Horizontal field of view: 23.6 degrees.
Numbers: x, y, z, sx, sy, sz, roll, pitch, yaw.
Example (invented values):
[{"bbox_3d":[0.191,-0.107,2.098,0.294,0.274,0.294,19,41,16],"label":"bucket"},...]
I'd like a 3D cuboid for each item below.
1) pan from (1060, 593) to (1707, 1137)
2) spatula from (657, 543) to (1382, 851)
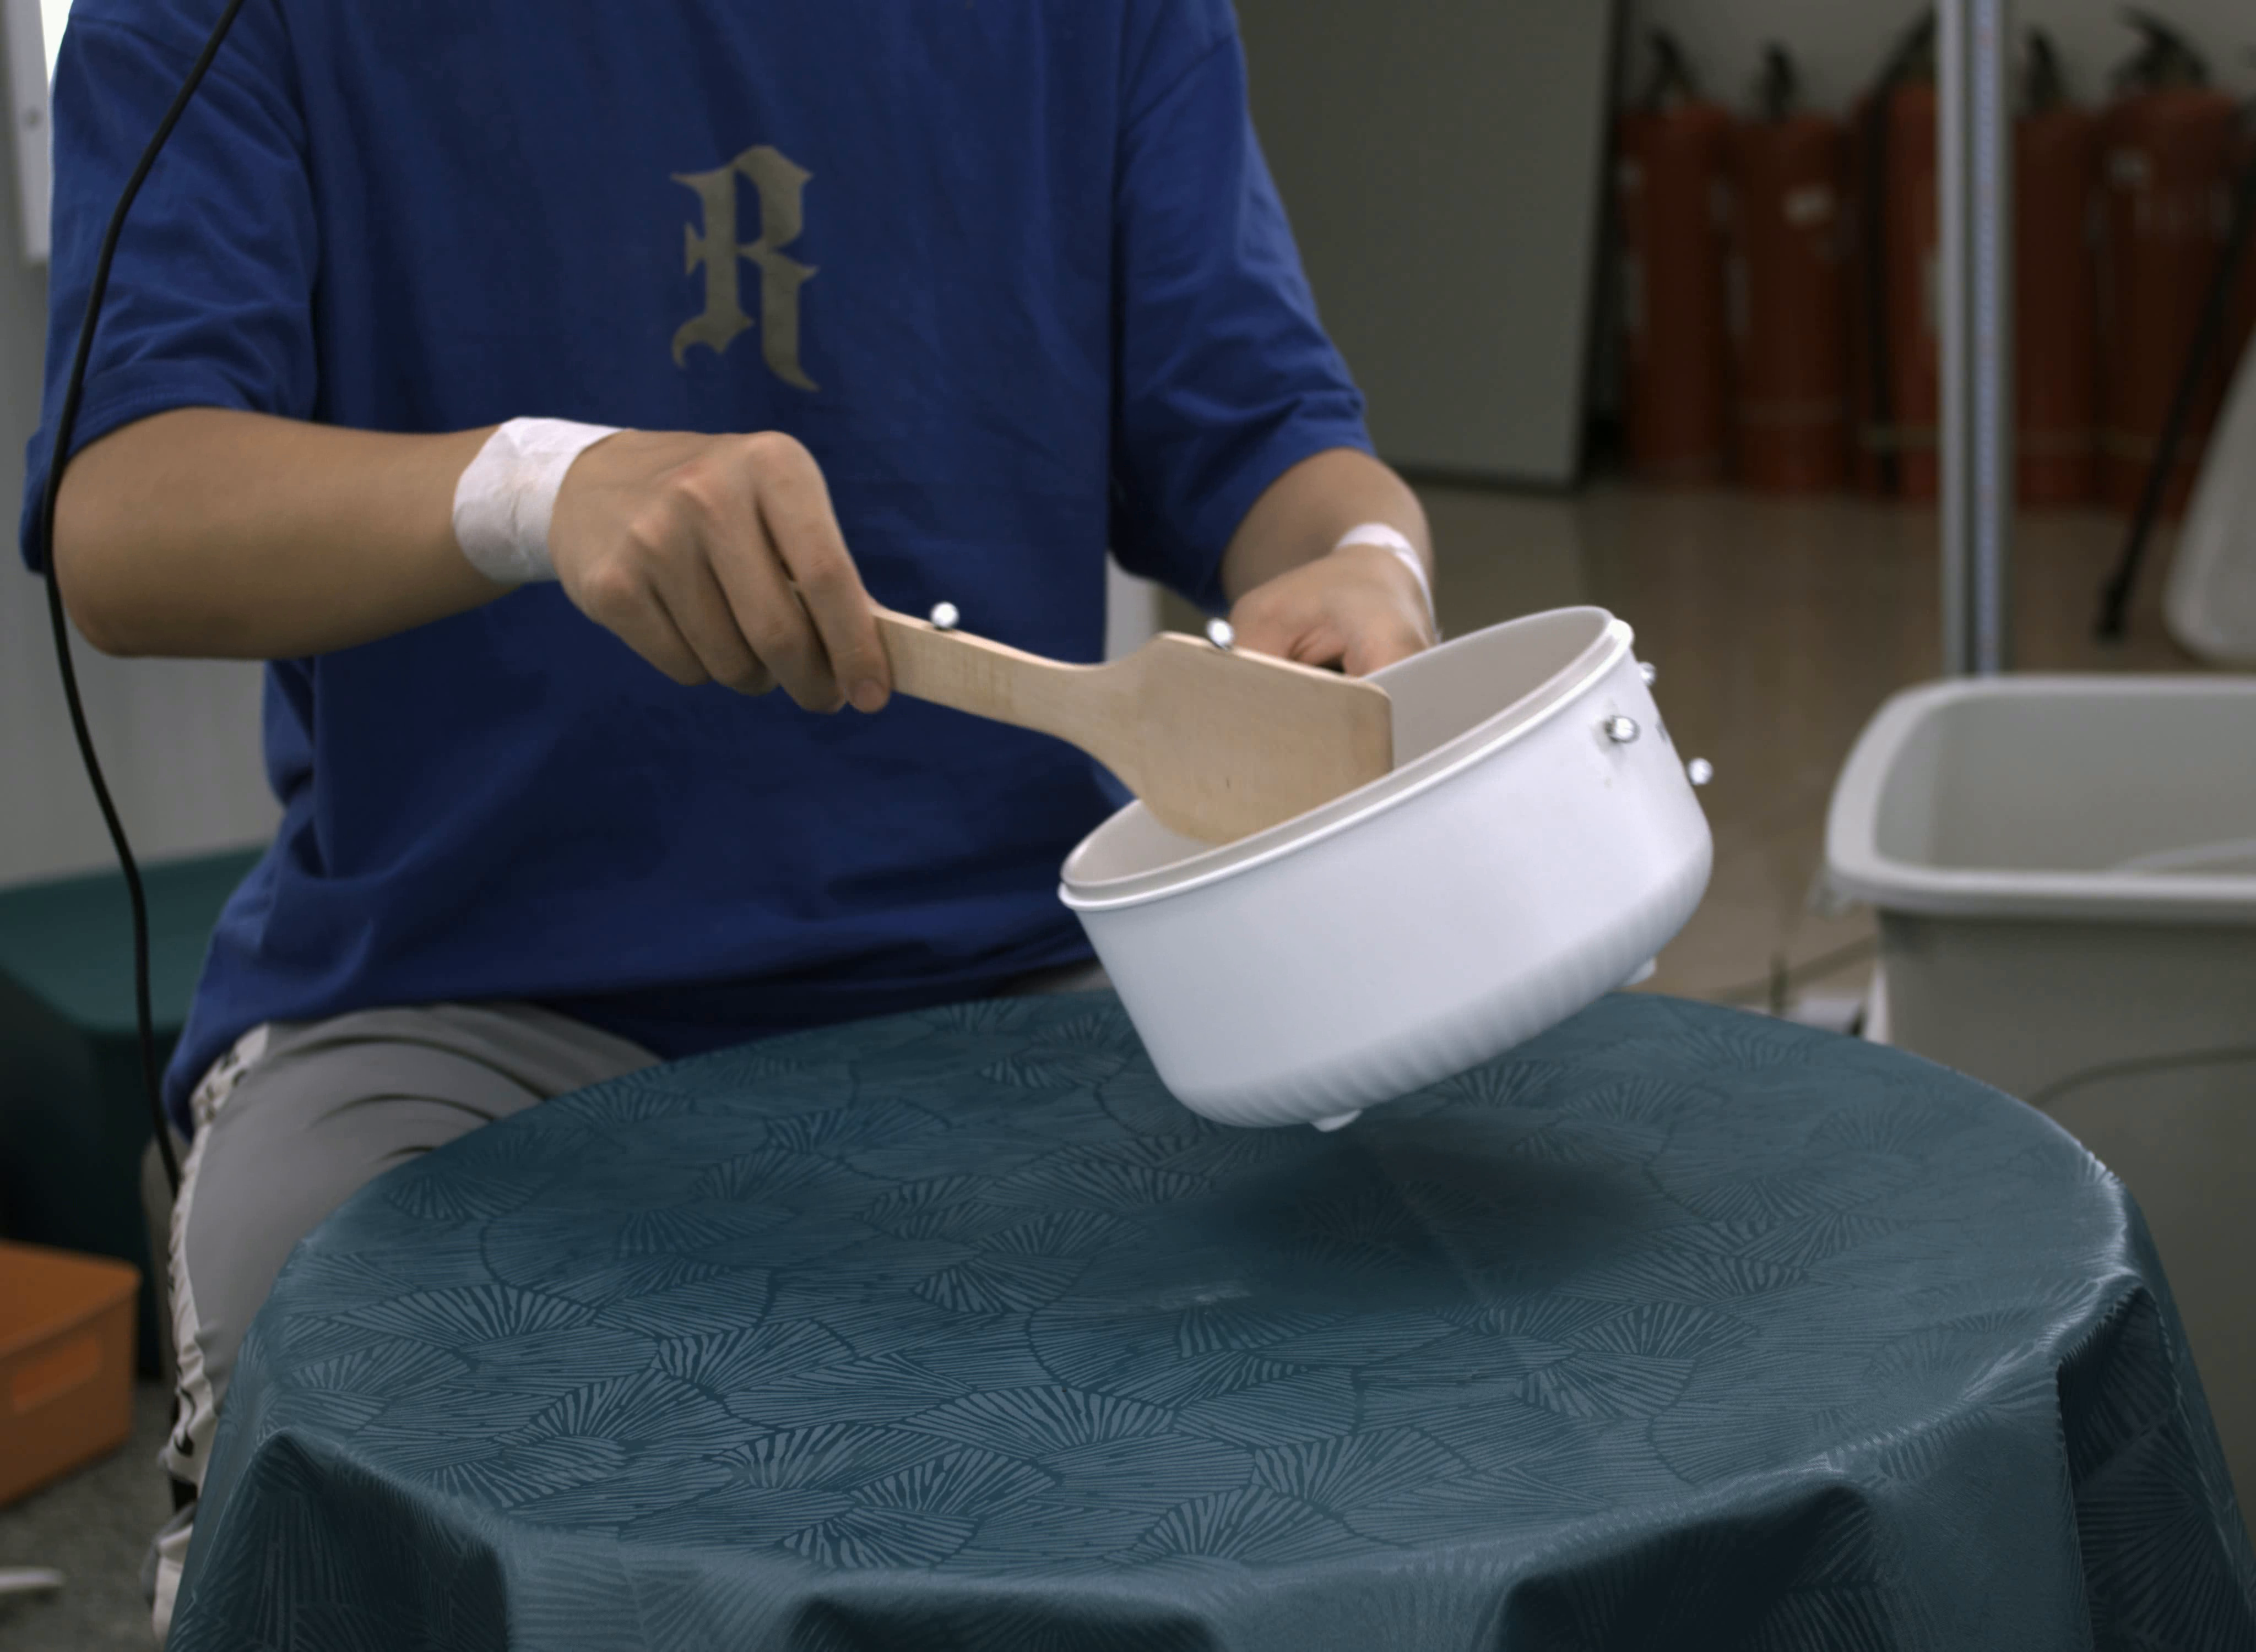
[{"bbox_3d":[0.081,0.007,1.791,0.200,0.102,0.355,-29,9,0],"label":"pan"},{"bbox_3d":[-0.041,-0.047,1.735,0.295,0.073,0.010,18,27,34],"label":"spatula"}]
